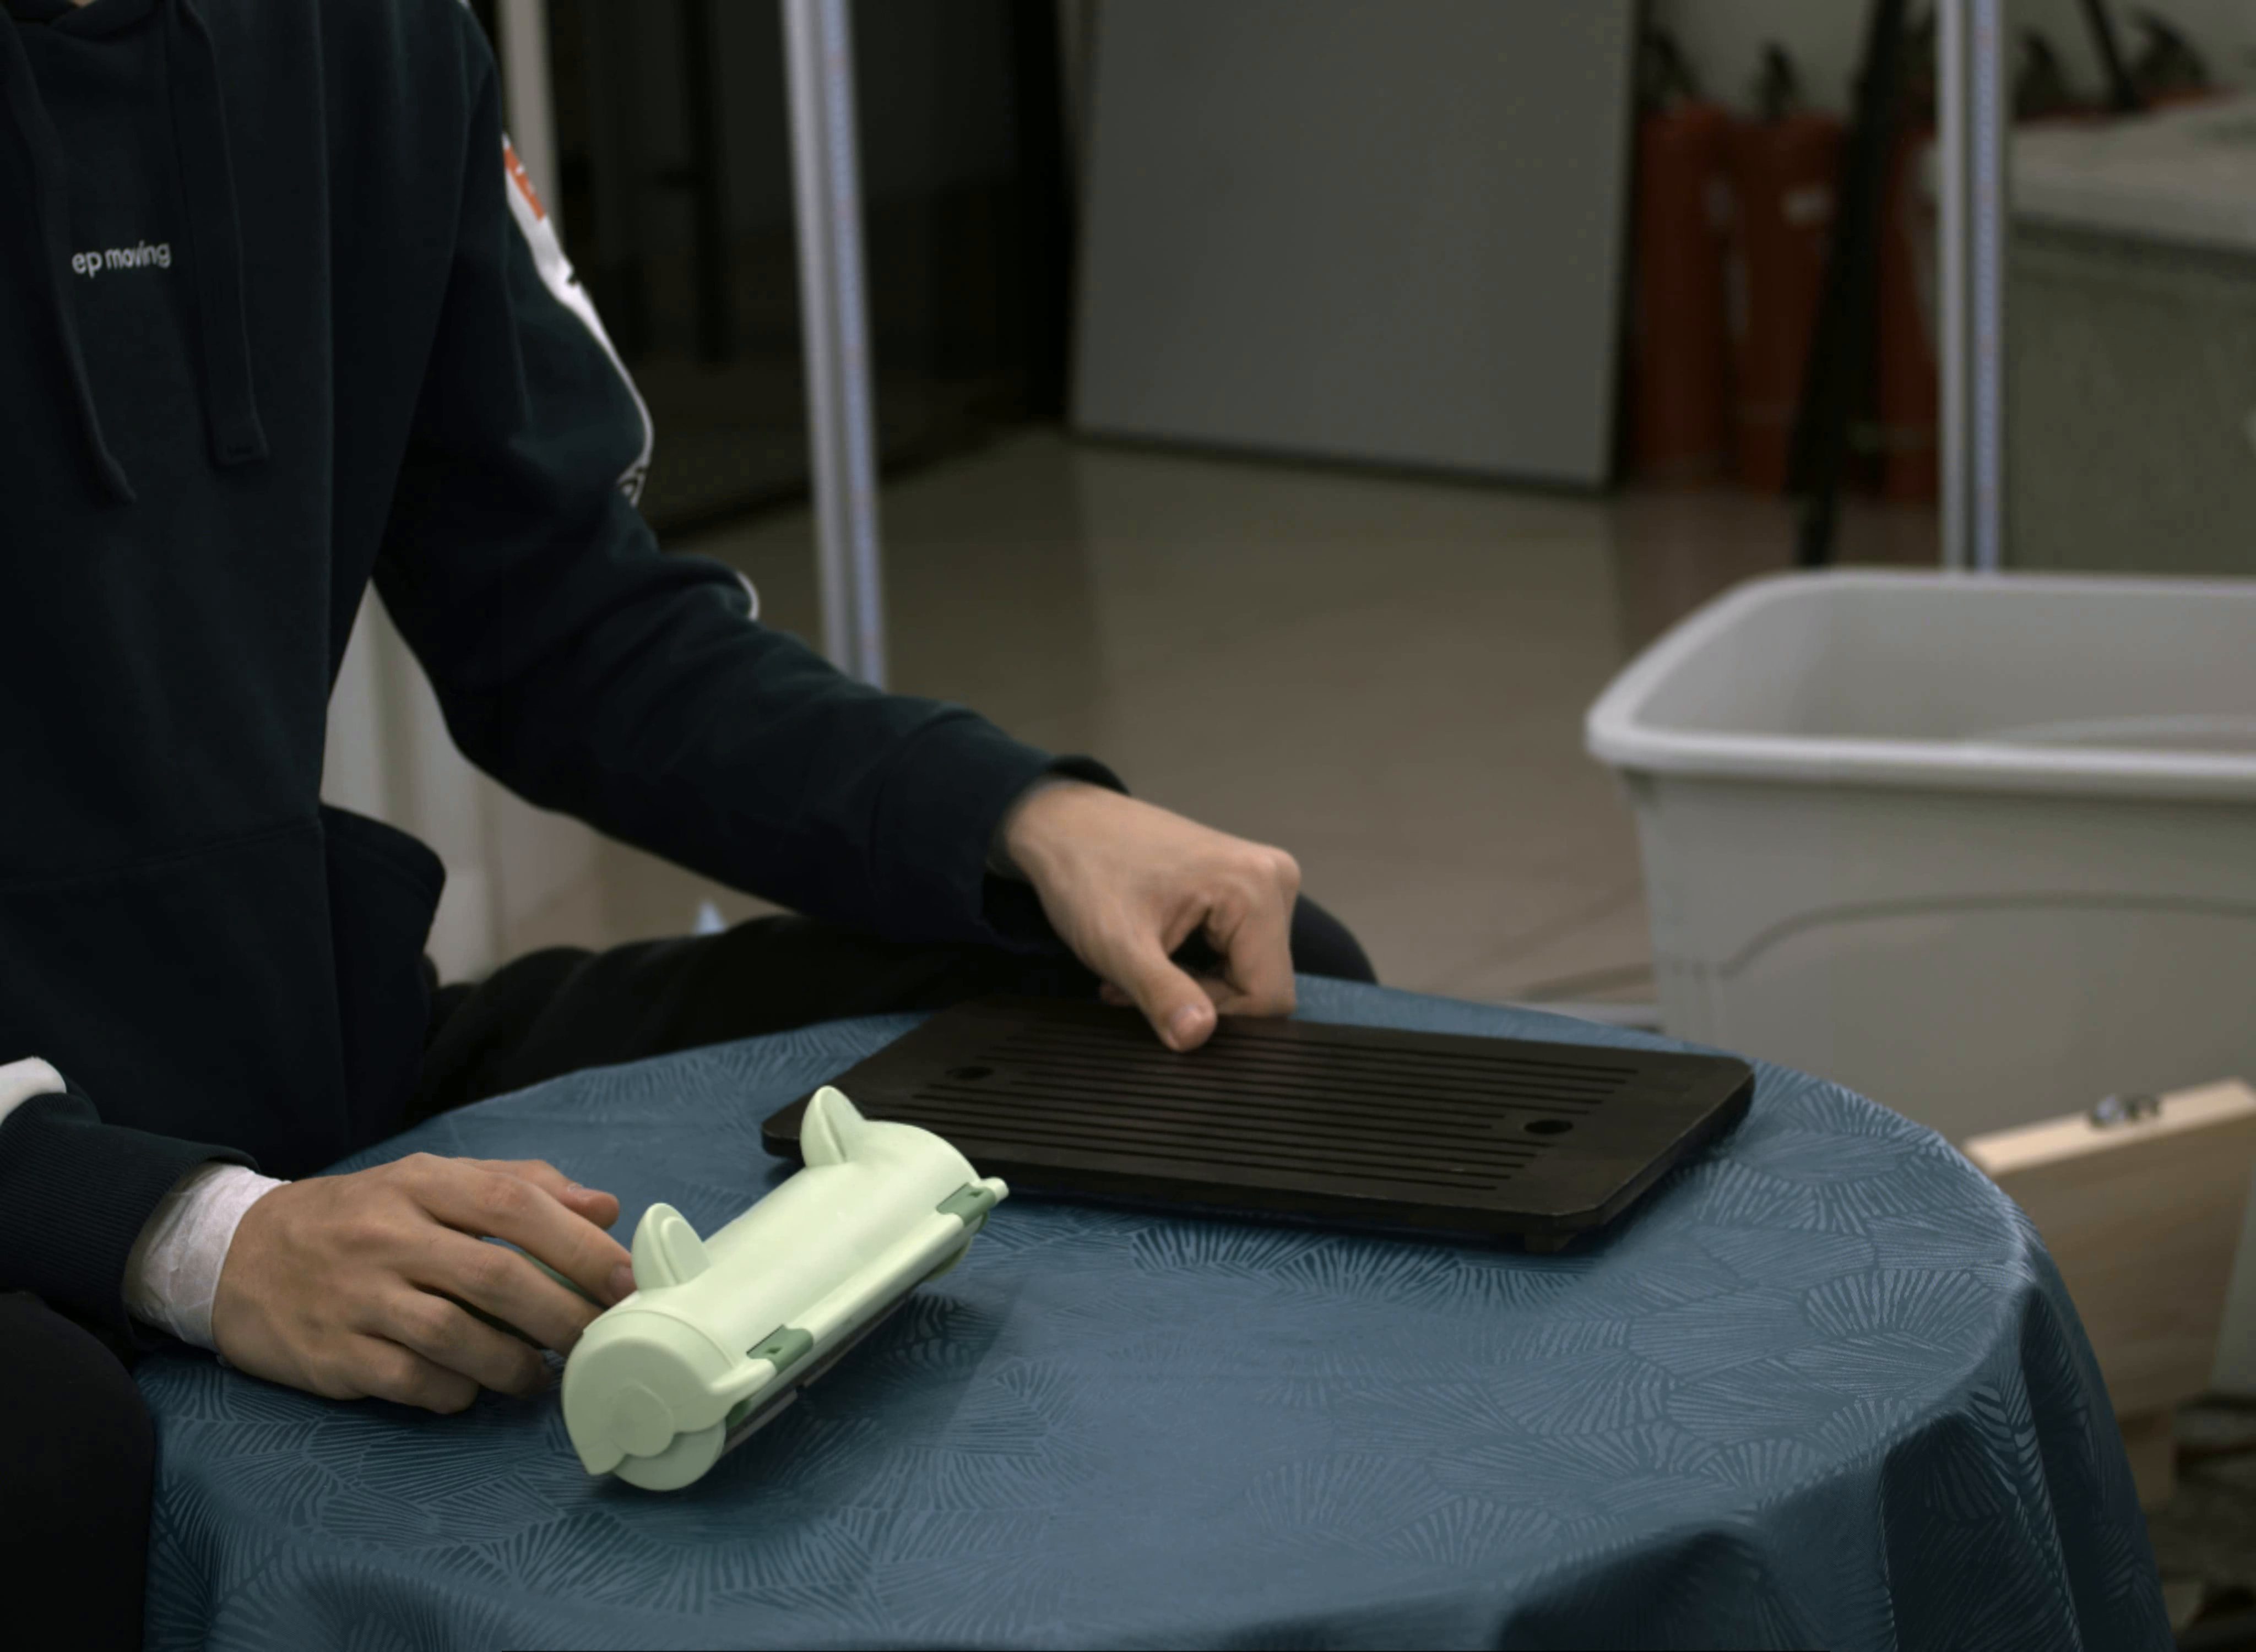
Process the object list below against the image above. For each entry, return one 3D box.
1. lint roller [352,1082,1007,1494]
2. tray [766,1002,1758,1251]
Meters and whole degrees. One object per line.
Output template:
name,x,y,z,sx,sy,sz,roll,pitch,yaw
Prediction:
lint roller,-0.153,0.129,1.619,0.183,0.083,0.196,5,16,22
tray,0.045,0.099,1.810,0.307,0.019,0.168,3,16,28
